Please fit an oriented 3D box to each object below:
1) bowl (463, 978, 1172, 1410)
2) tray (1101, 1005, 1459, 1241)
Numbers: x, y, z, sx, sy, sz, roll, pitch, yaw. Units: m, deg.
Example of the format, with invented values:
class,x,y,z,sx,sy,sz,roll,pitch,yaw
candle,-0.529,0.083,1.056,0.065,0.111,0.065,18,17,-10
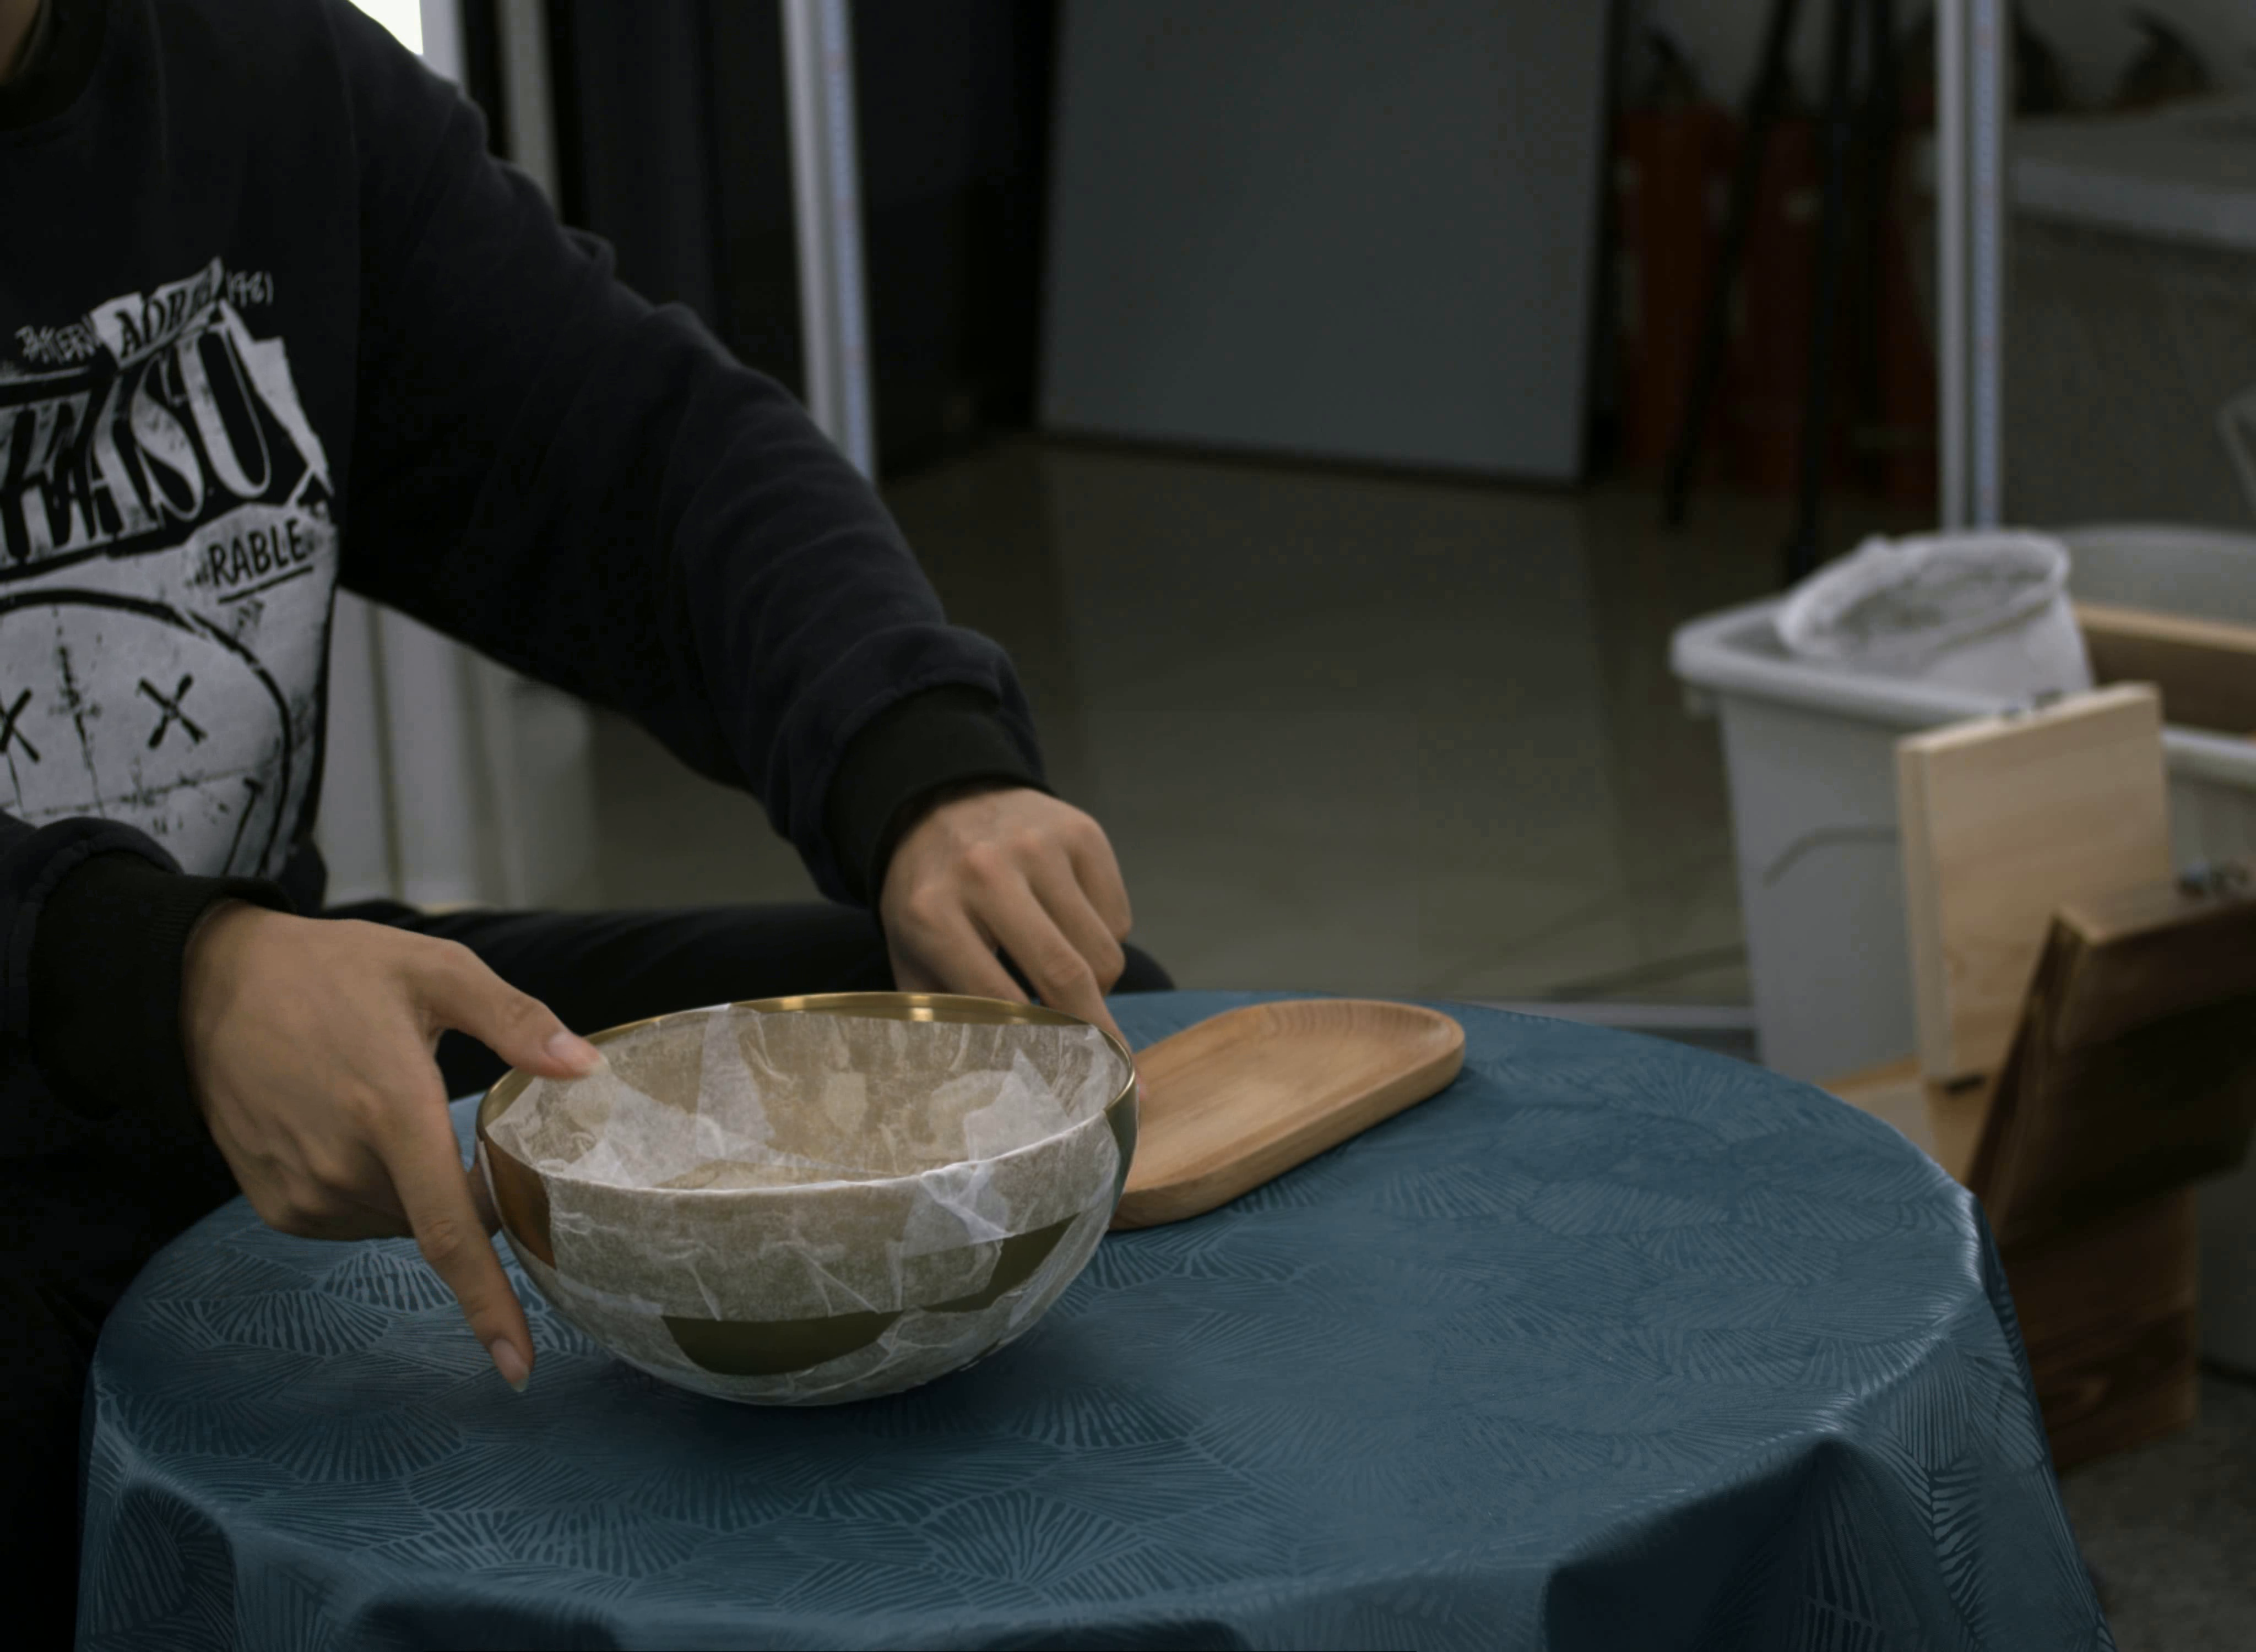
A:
class,x,y,z,sx,sy,sz,roll,pitch,yaw
bowl,-0.091,0.118,1.616,0.212,0.095,0.215,-5,14,0
tray,0.030,0.099,1.821,0.102,0.020,0.227,3,17,35
